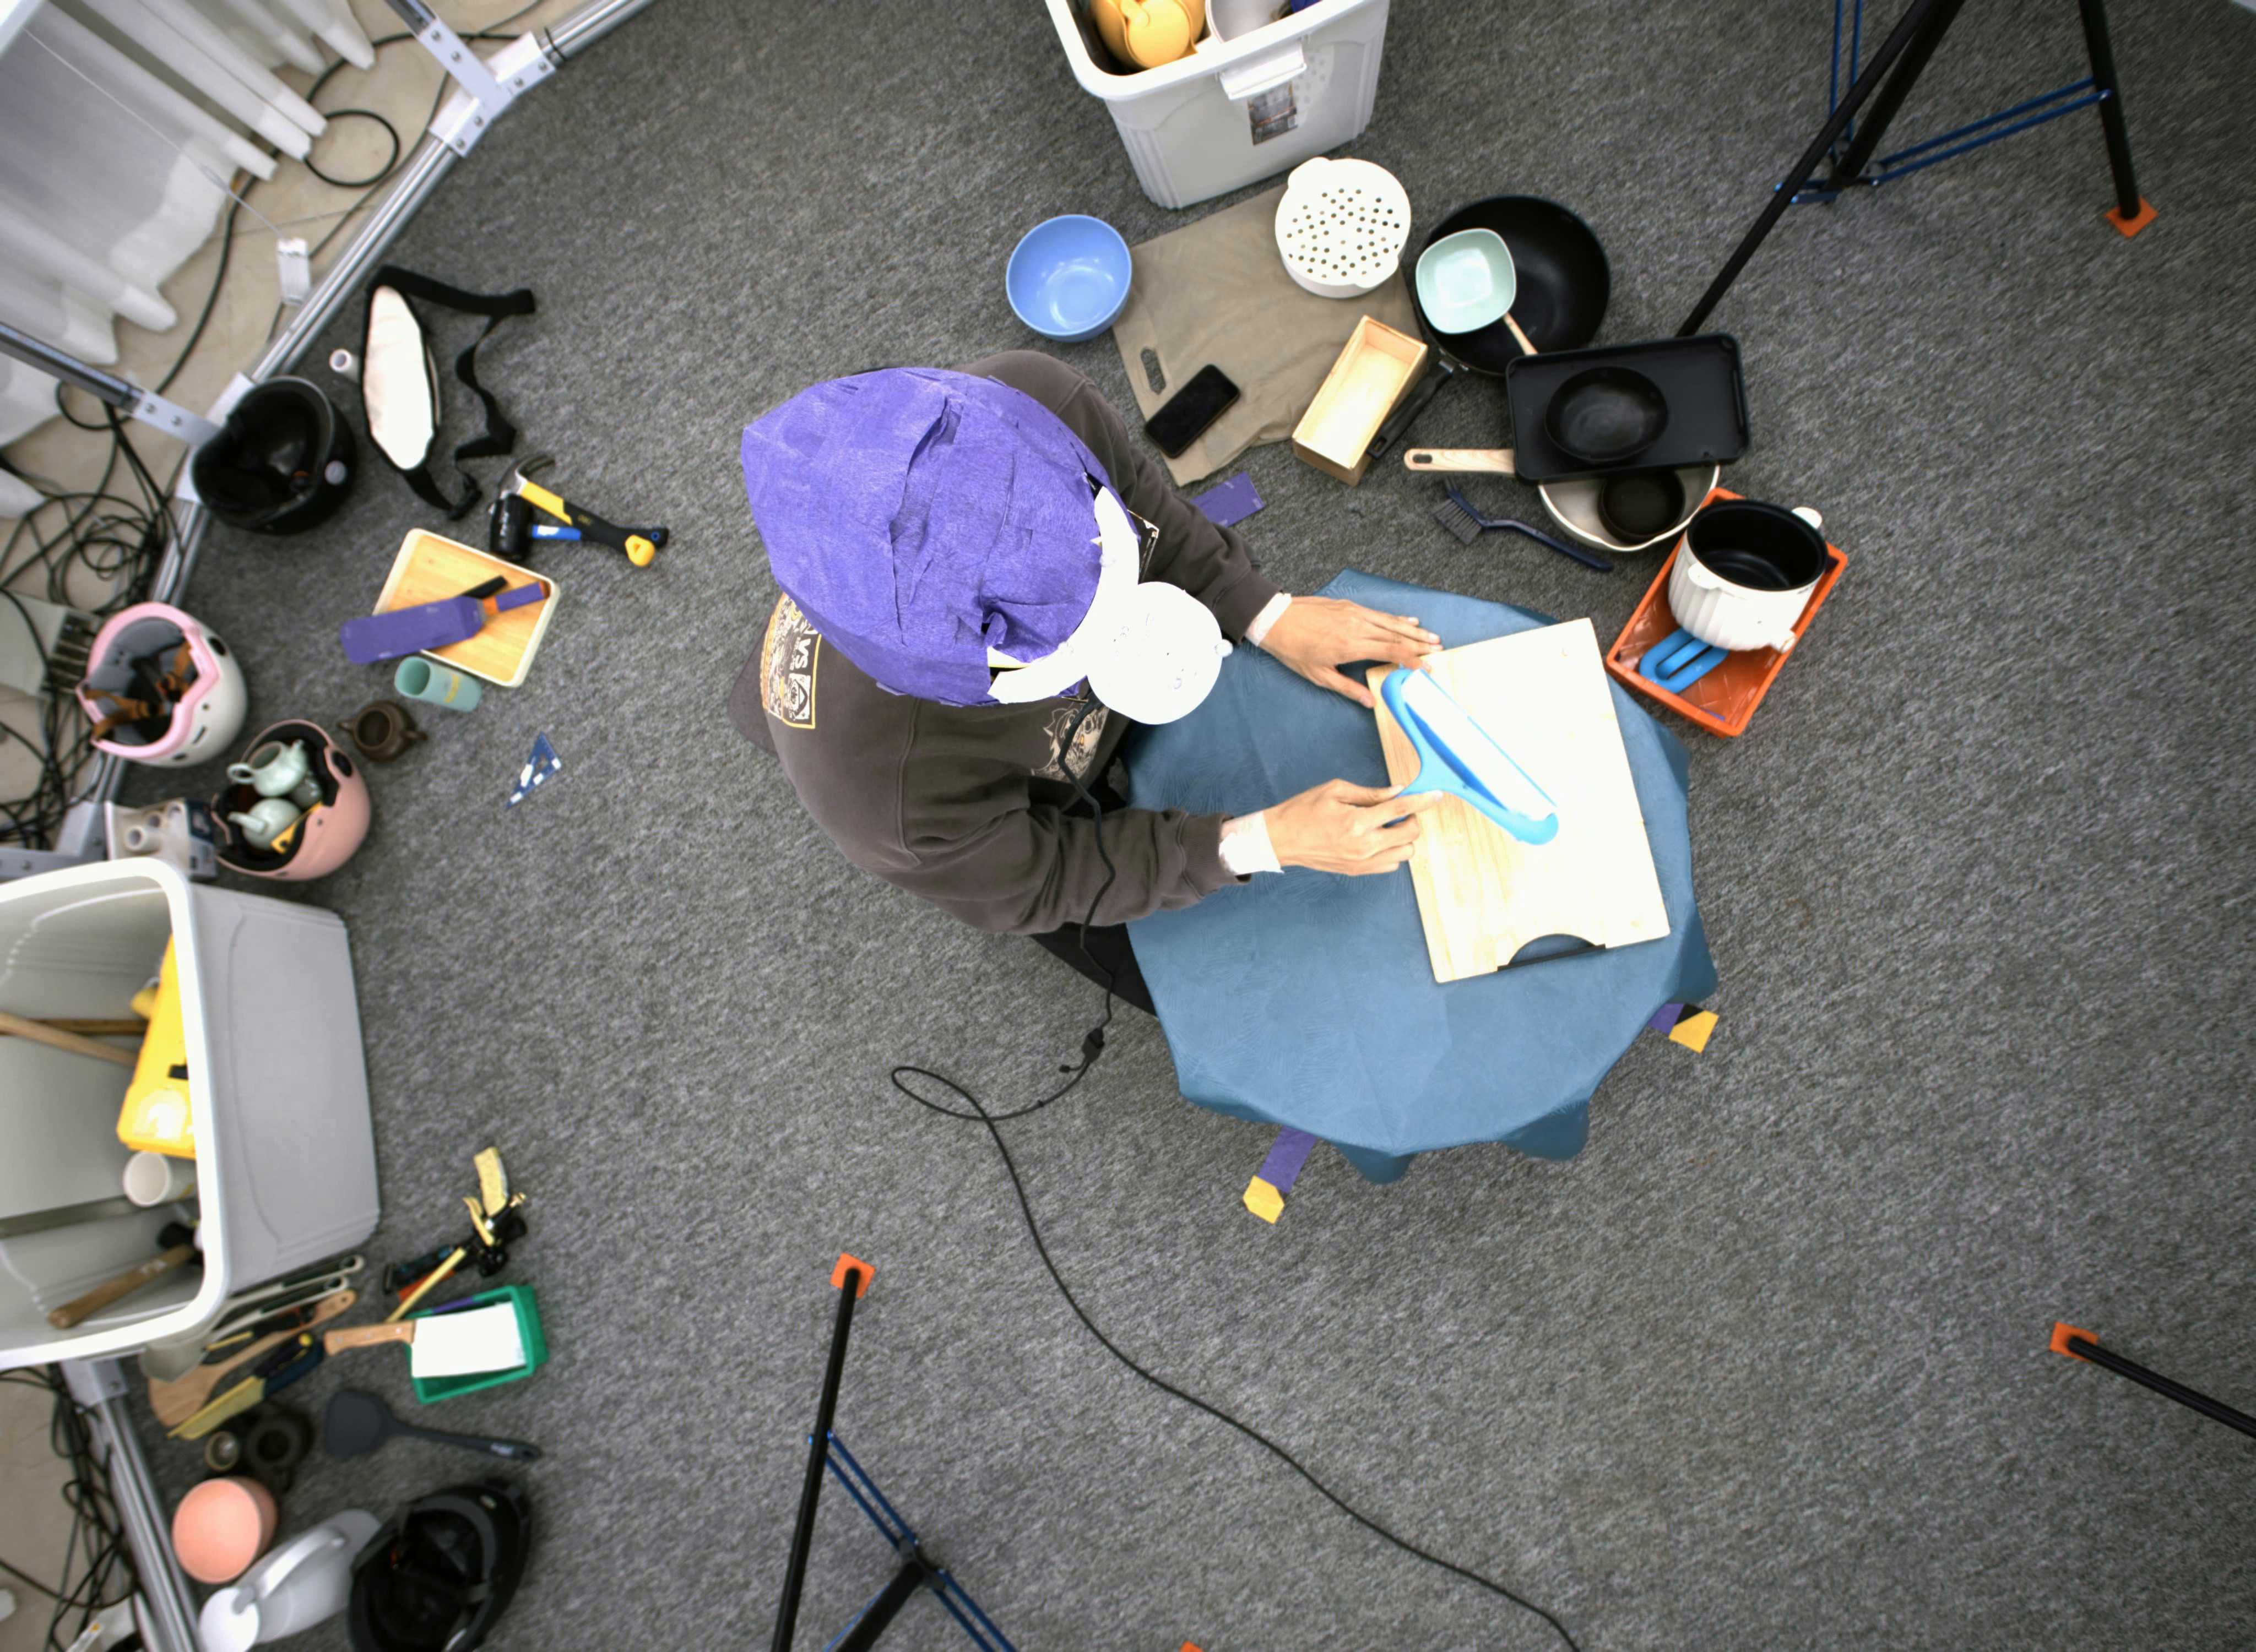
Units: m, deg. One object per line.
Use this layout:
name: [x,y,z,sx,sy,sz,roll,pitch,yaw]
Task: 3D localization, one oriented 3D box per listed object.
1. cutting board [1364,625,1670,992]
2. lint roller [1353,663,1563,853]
cutting board: [0.402,-0.024,1.429,0.252,0.023,0.346,-14,85,10]
lint roller: [0.292,-0.040,1.321,0.178,0.069,0.227,-39,77,-16]
